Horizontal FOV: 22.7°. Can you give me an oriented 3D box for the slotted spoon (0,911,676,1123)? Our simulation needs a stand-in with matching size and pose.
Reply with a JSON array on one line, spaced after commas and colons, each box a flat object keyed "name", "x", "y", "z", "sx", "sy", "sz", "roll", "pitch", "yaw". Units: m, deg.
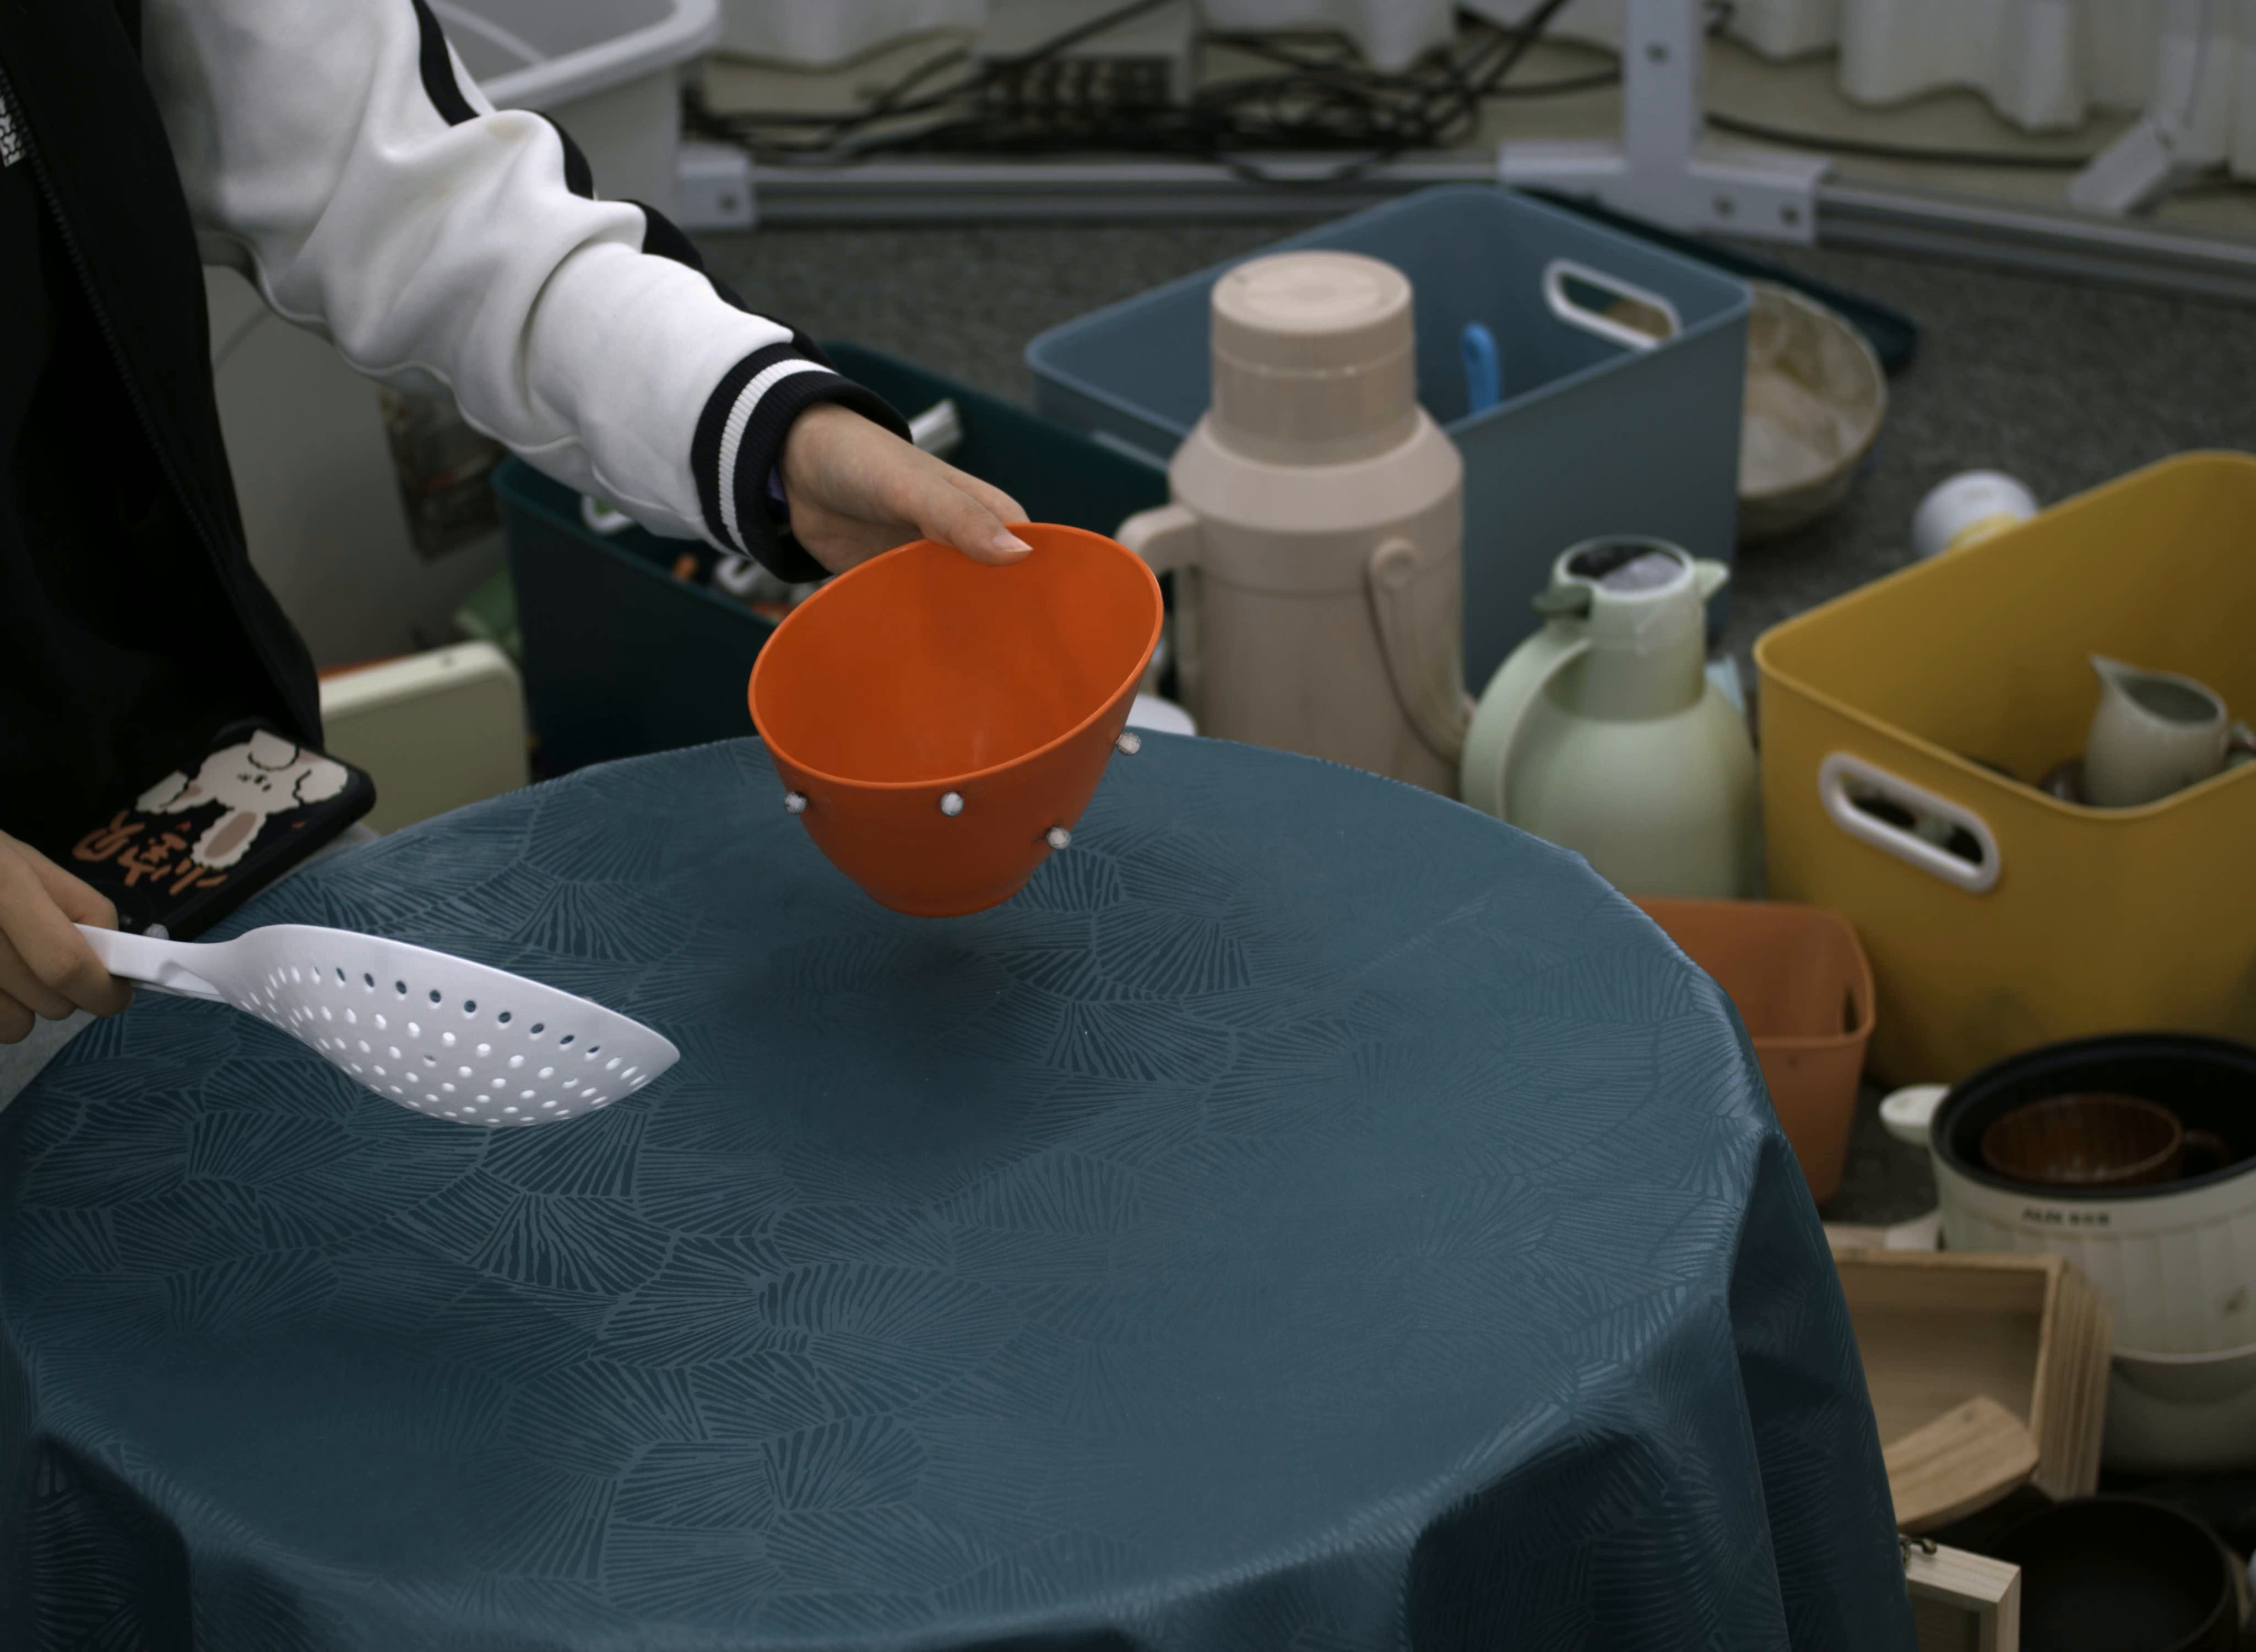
[{"name": "slotted spoon", "x": -0.296, "y": 0.047, "z": 1.814, "sx": 0.348, "sy": 0.046, "sz": 0.135, "roll": 13, "pitch": -13, "yaw": 36}]

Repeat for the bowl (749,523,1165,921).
[{"name": "bowl", "x": -0.056, "y": -0.028, "z": 1.969, "sx": 0.147, "sy": 0.103, "sz": 0.151, "roll": -3, "pitch": 38, "yaw": 3}]
